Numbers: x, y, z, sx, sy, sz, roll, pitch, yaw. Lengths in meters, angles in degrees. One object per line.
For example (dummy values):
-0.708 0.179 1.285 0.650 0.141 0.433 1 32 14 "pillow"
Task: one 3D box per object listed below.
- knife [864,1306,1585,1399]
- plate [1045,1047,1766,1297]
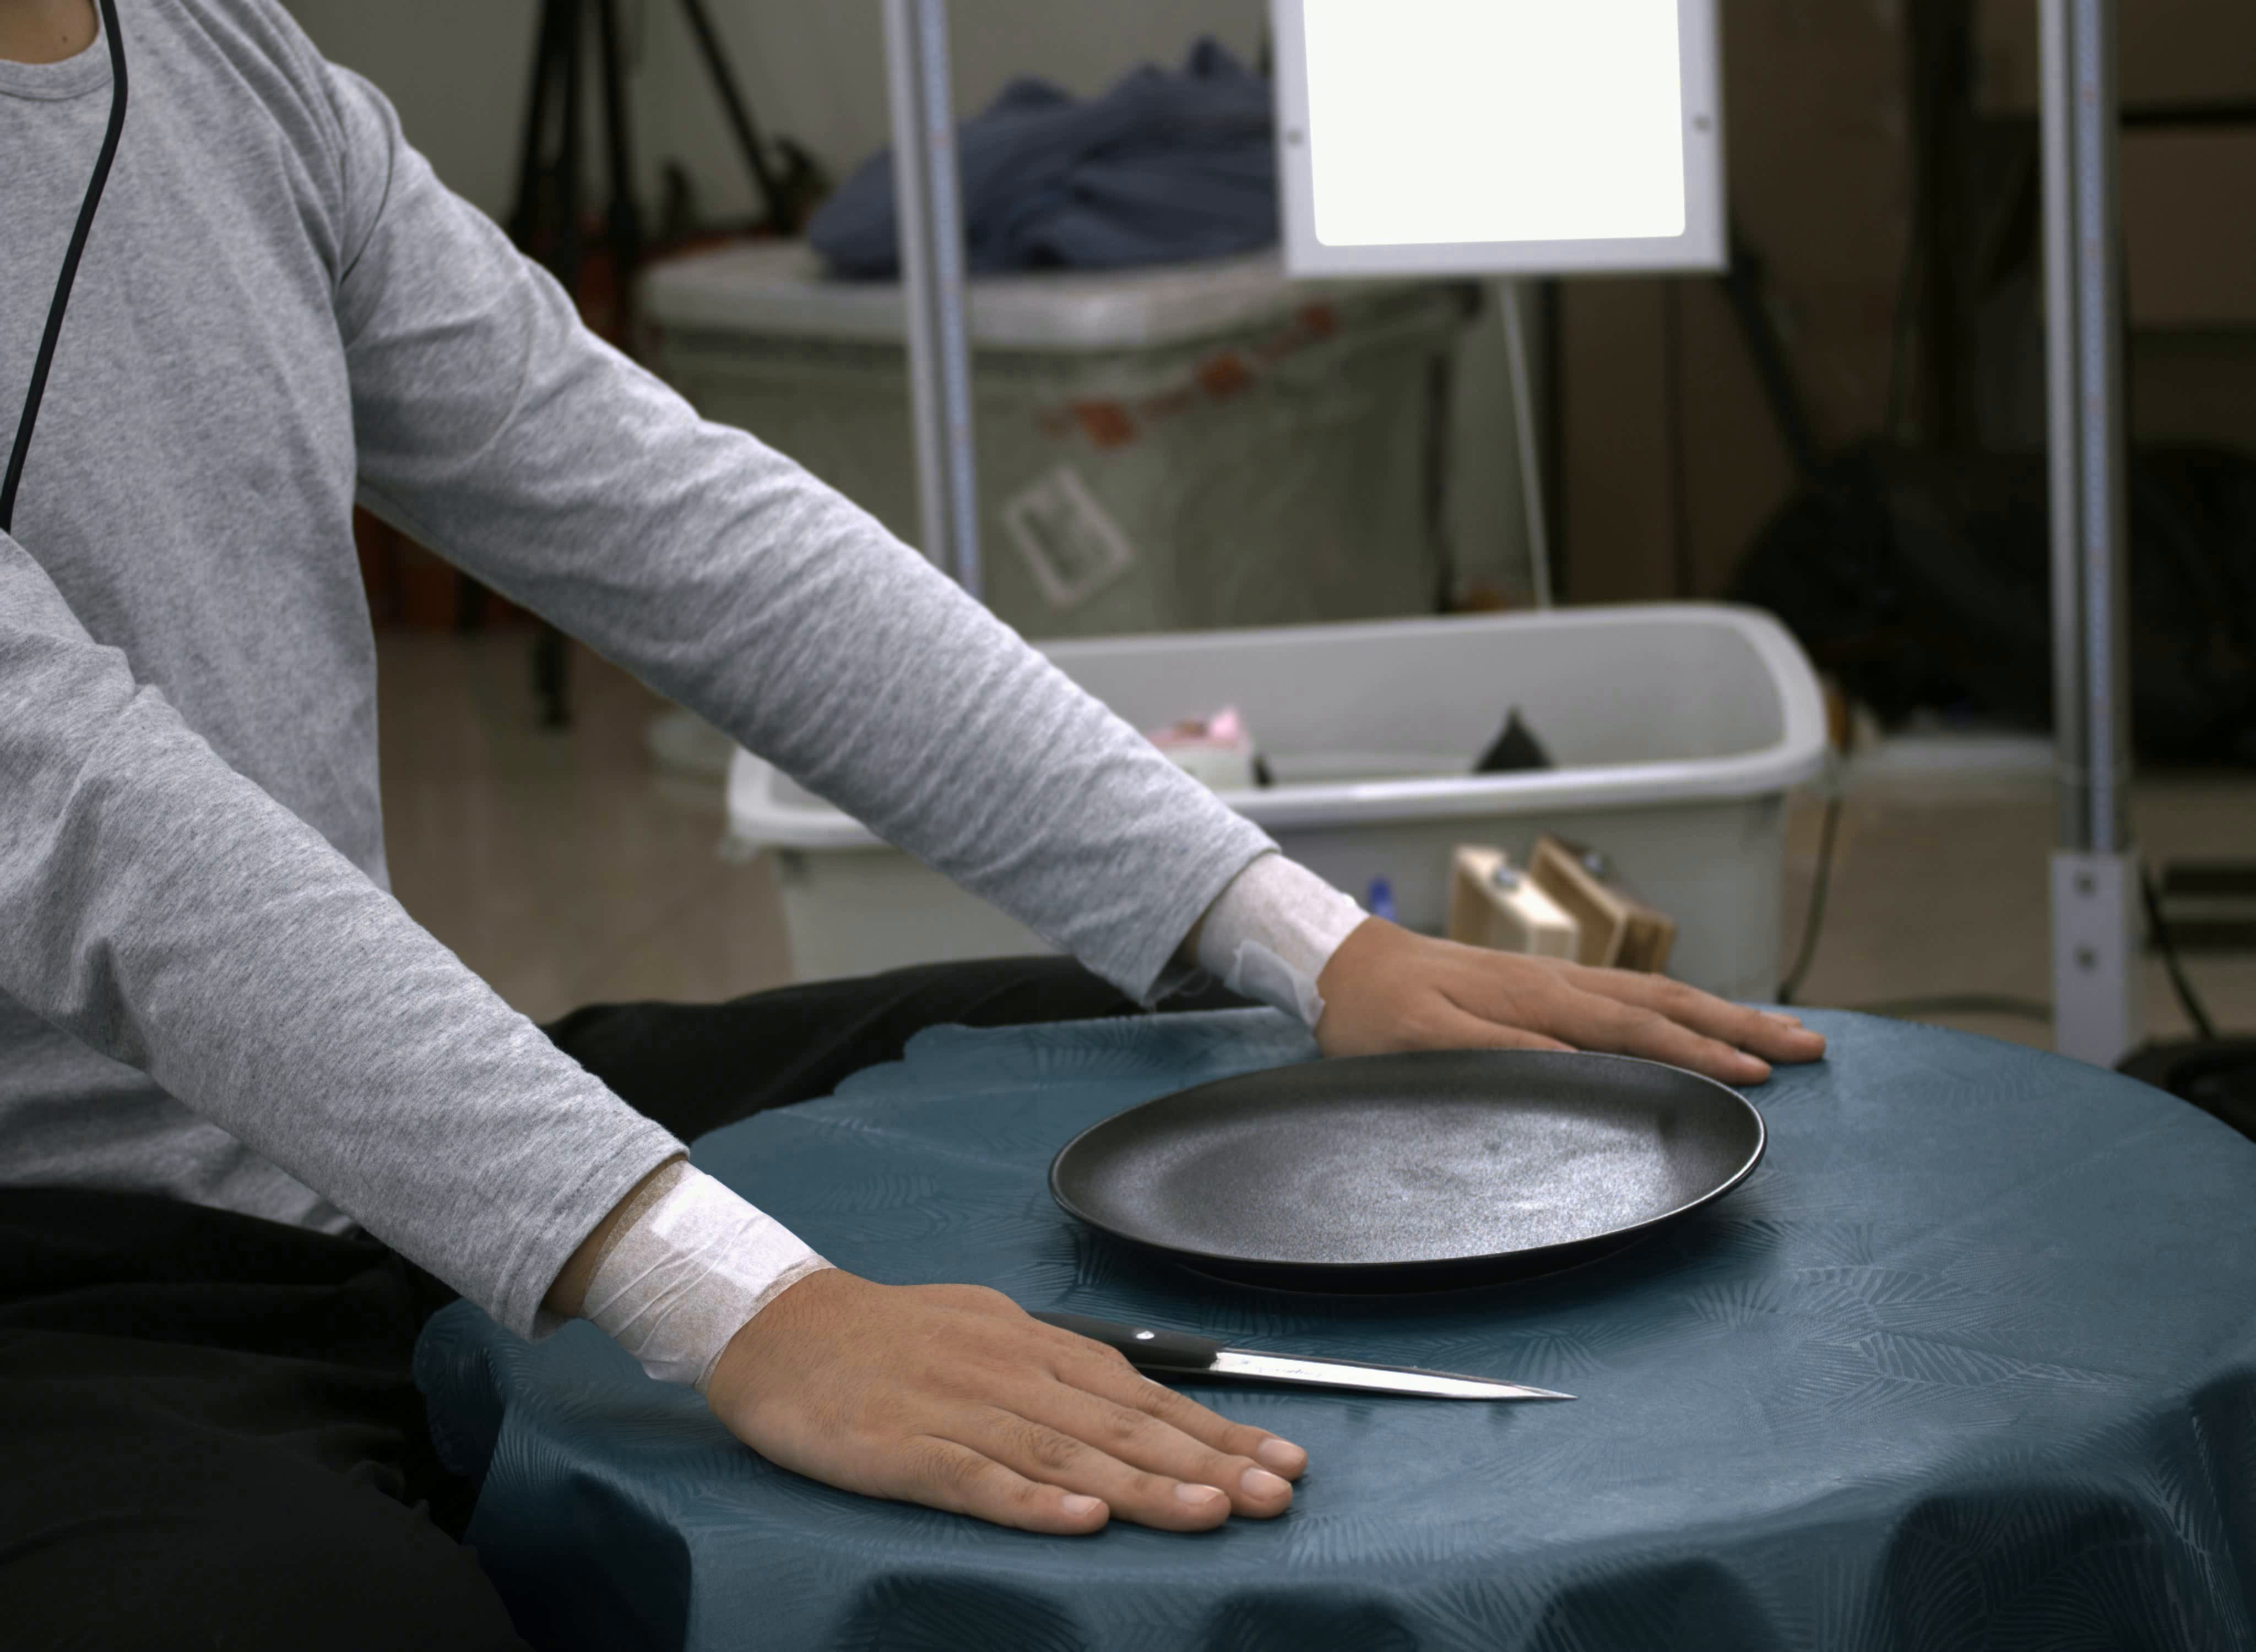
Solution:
0.026 0.167 1.707 0.241 0.016 0.024 3 15 22 "knife"
0.094 0.119 1.852 0.244 0.023 0.244 -5 14 0 "plate"
